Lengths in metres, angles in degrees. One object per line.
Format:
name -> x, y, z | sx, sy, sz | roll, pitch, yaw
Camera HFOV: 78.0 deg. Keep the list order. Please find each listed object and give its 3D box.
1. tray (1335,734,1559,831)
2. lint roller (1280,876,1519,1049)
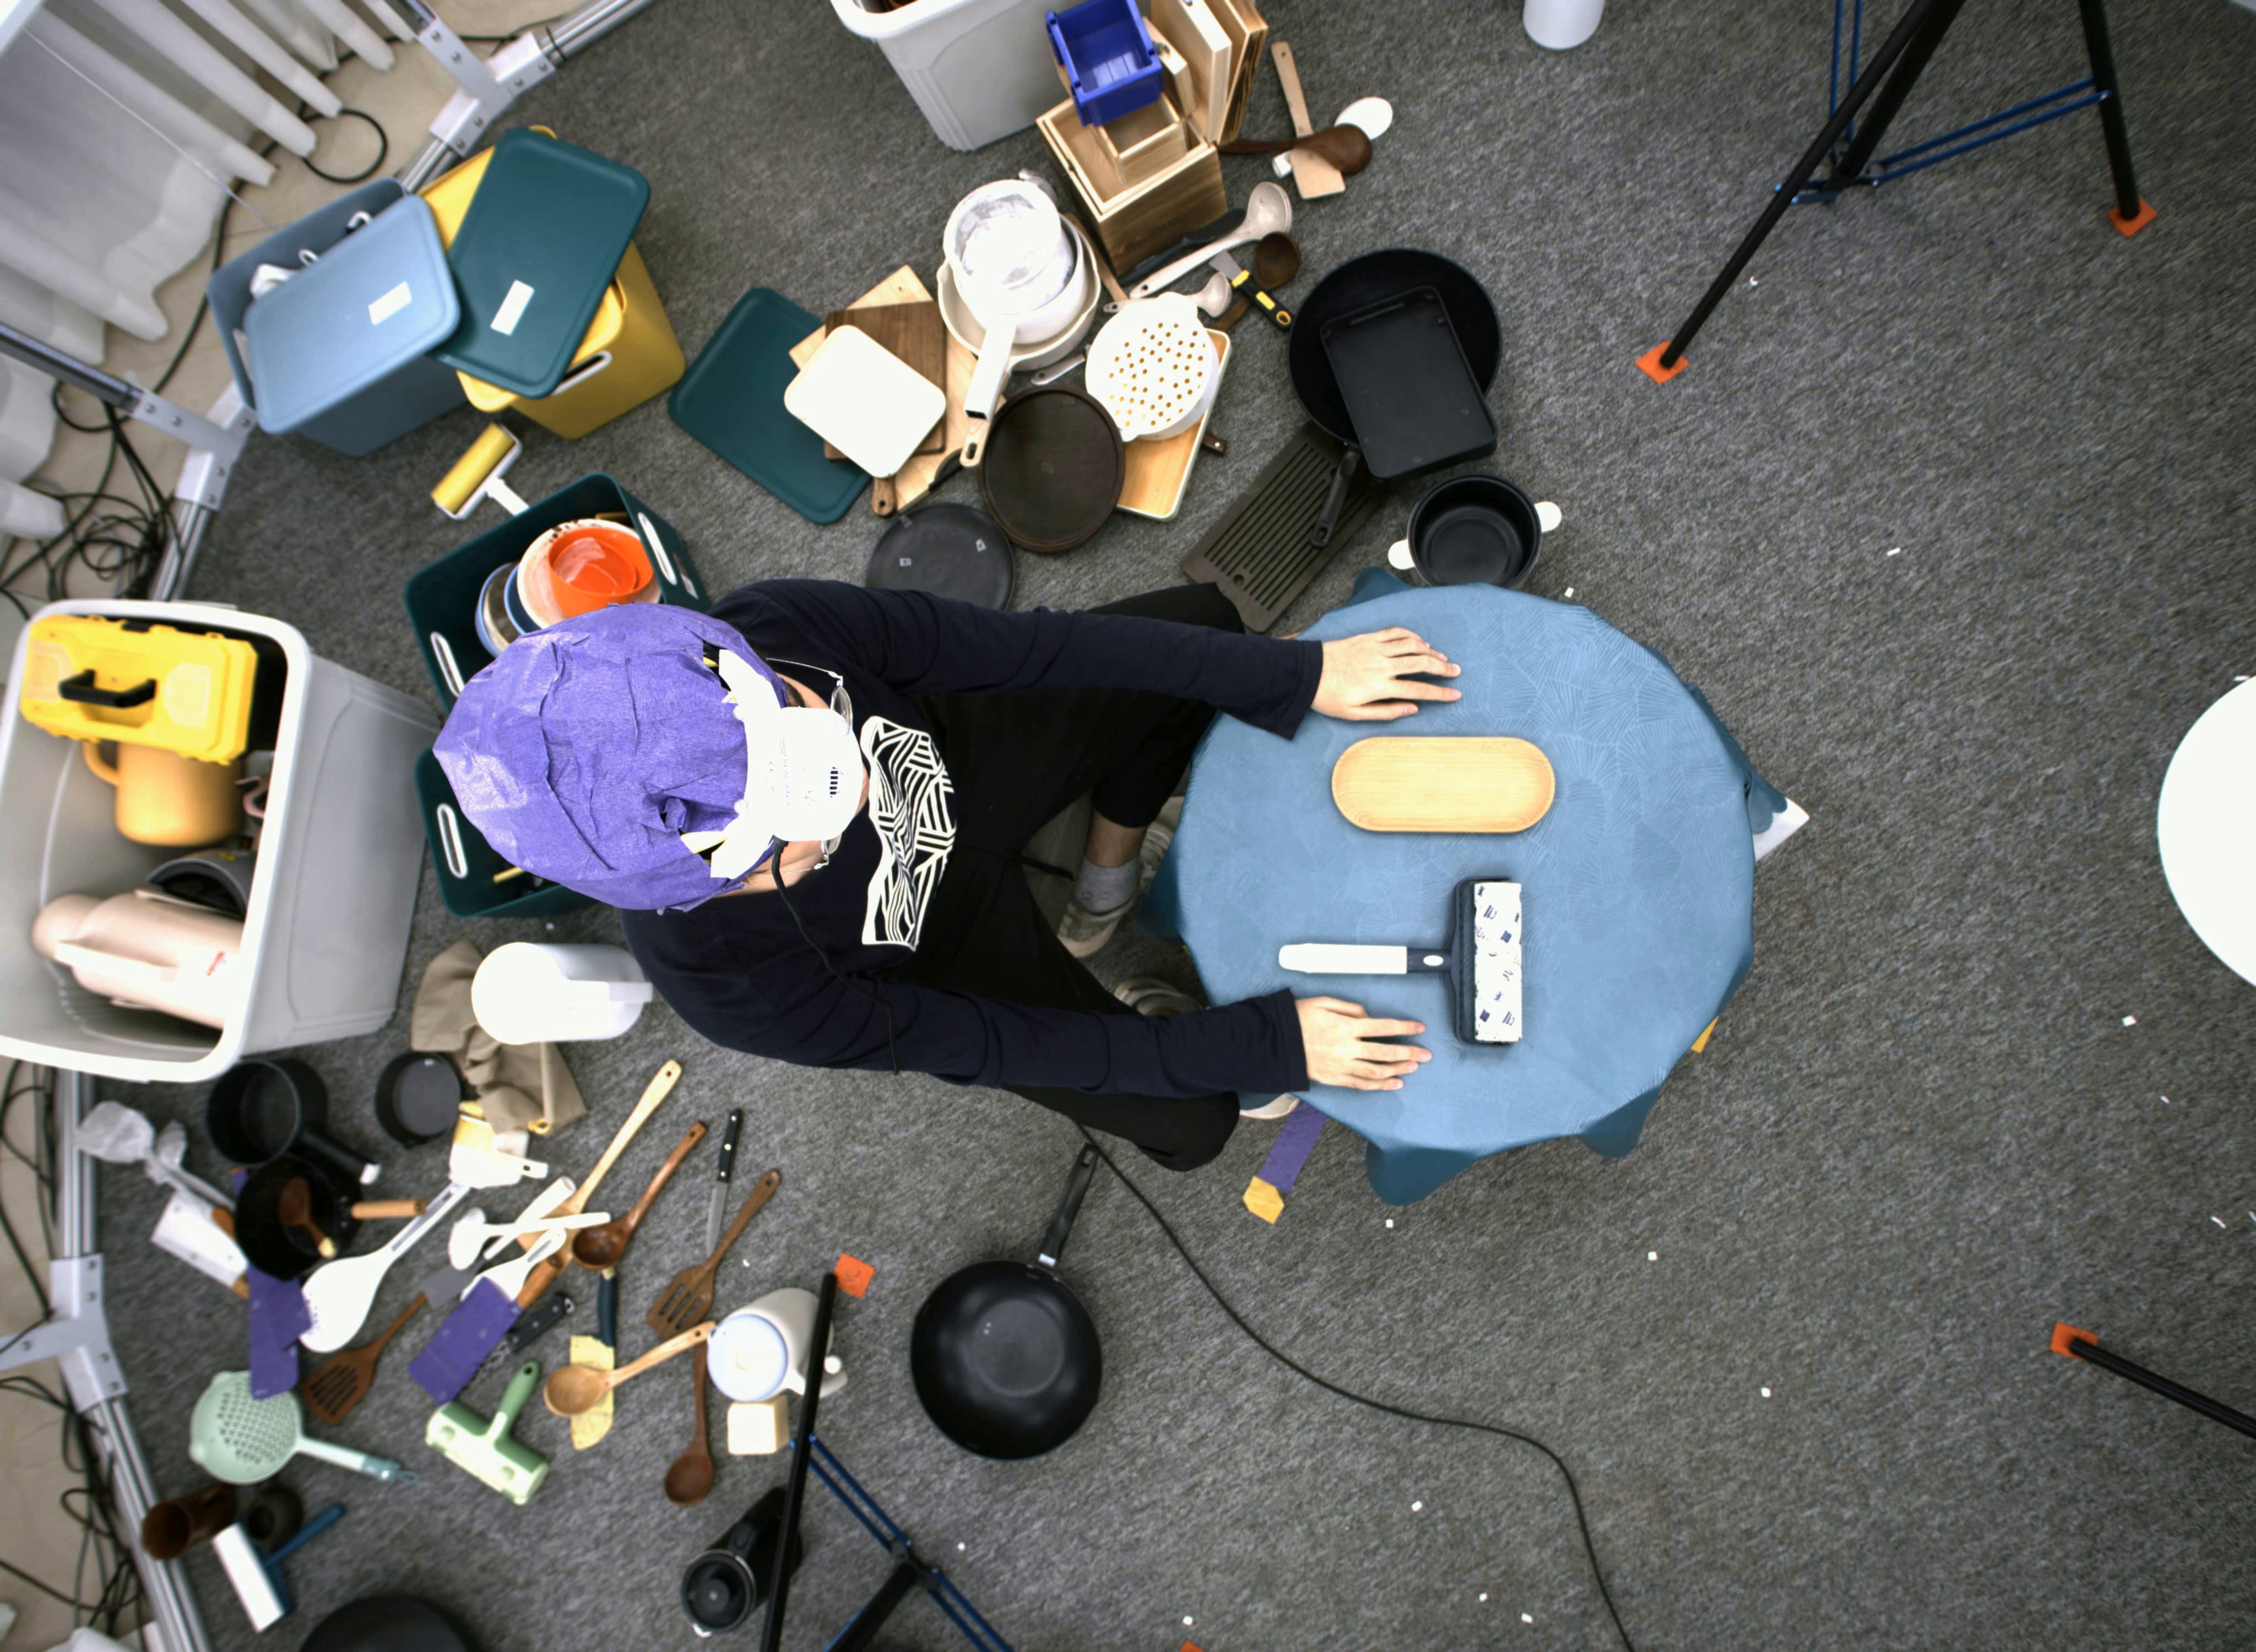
tray -> 0.334, -0.047, 1.446 | 0.232, 0.020, 0.101 | -1, 88, 10
lint roller -> 0.279, 0.139, 1.434 | 0.248, 0.050, 0.175 | -1, 87, 14
